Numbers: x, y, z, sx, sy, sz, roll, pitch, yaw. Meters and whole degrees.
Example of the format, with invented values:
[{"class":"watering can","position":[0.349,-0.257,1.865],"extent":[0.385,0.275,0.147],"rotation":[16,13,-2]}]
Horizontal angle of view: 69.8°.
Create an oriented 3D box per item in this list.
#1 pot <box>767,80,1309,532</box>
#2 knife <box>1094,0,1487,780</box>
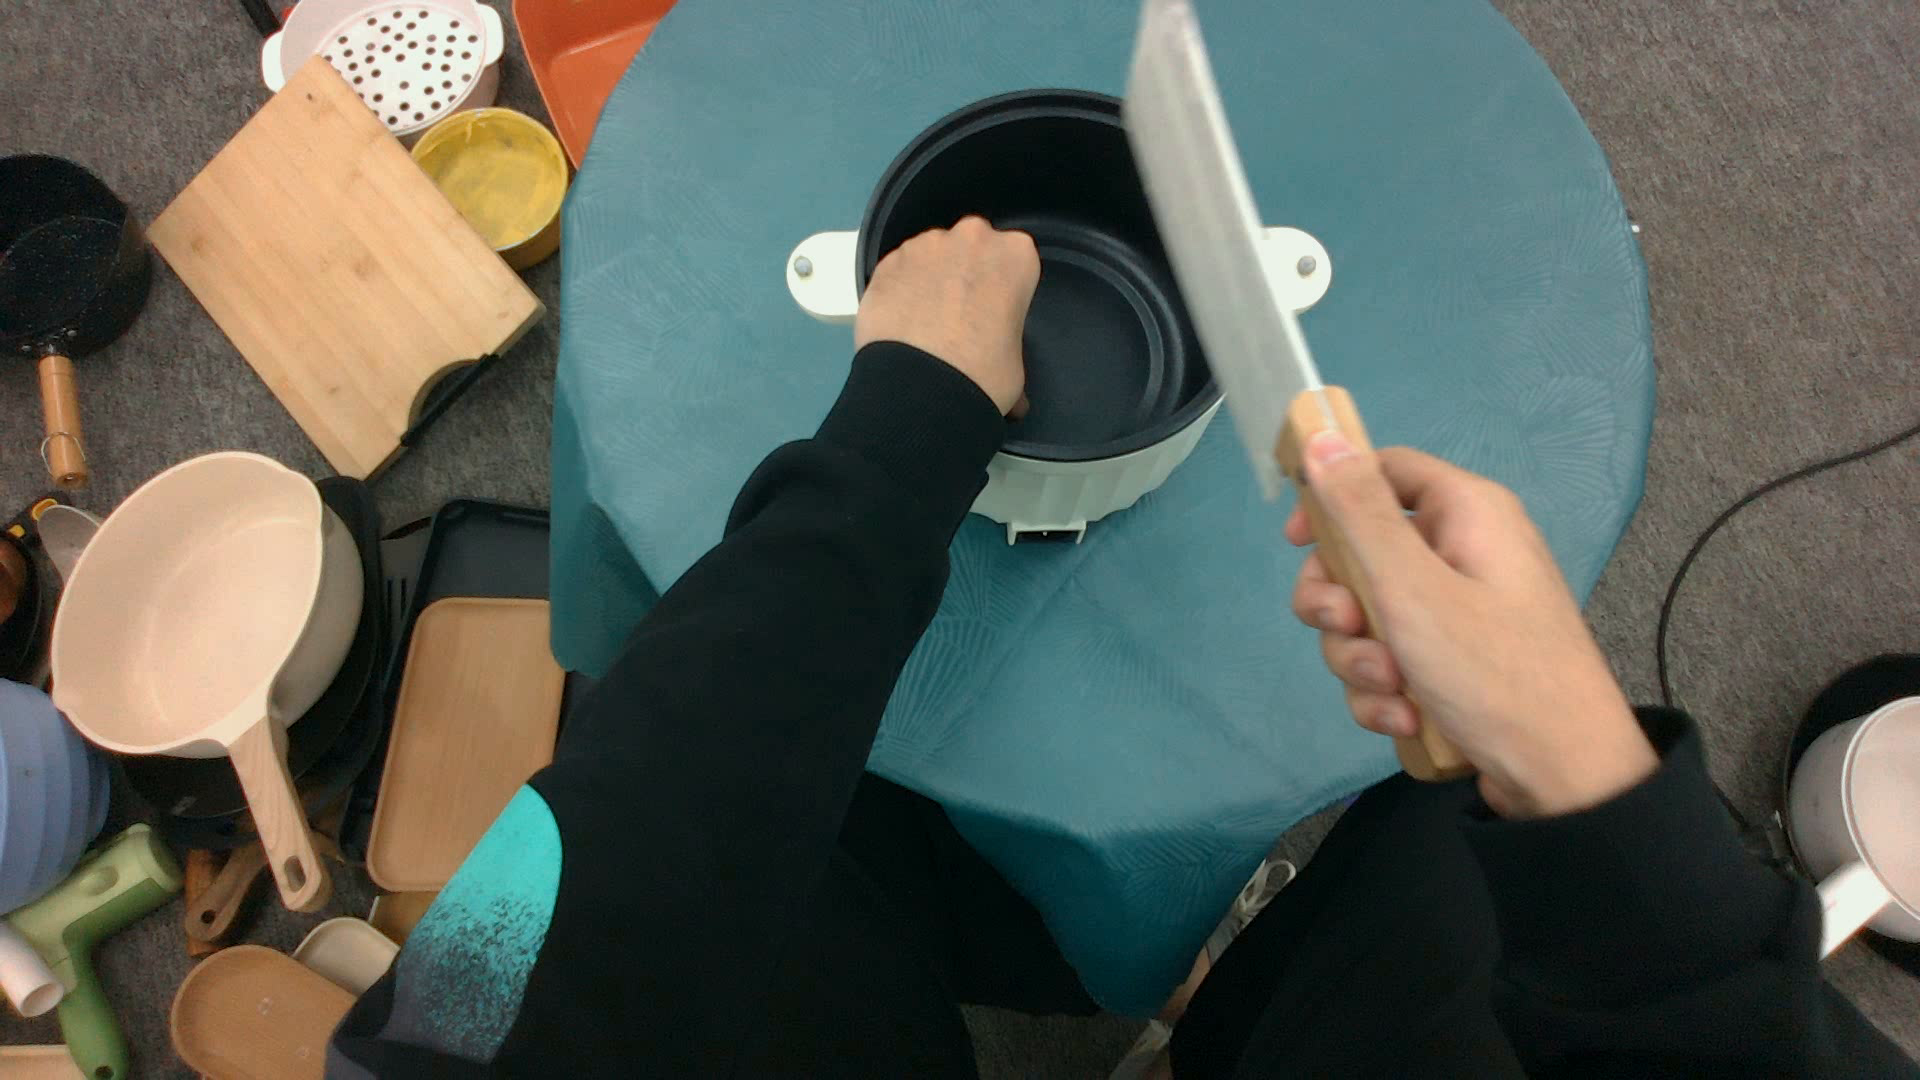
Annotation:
[{"class":"pot","position":[0.032,-0.110,0.667],"extent":[0.240,0.142,0.191],"rotation":[-2,76,-5]},{"class":"knife","position":[0.103,-0.065,0.484],"extent":[0.022,0.113,0.316],"rotation":[-17,67,-5]}]
